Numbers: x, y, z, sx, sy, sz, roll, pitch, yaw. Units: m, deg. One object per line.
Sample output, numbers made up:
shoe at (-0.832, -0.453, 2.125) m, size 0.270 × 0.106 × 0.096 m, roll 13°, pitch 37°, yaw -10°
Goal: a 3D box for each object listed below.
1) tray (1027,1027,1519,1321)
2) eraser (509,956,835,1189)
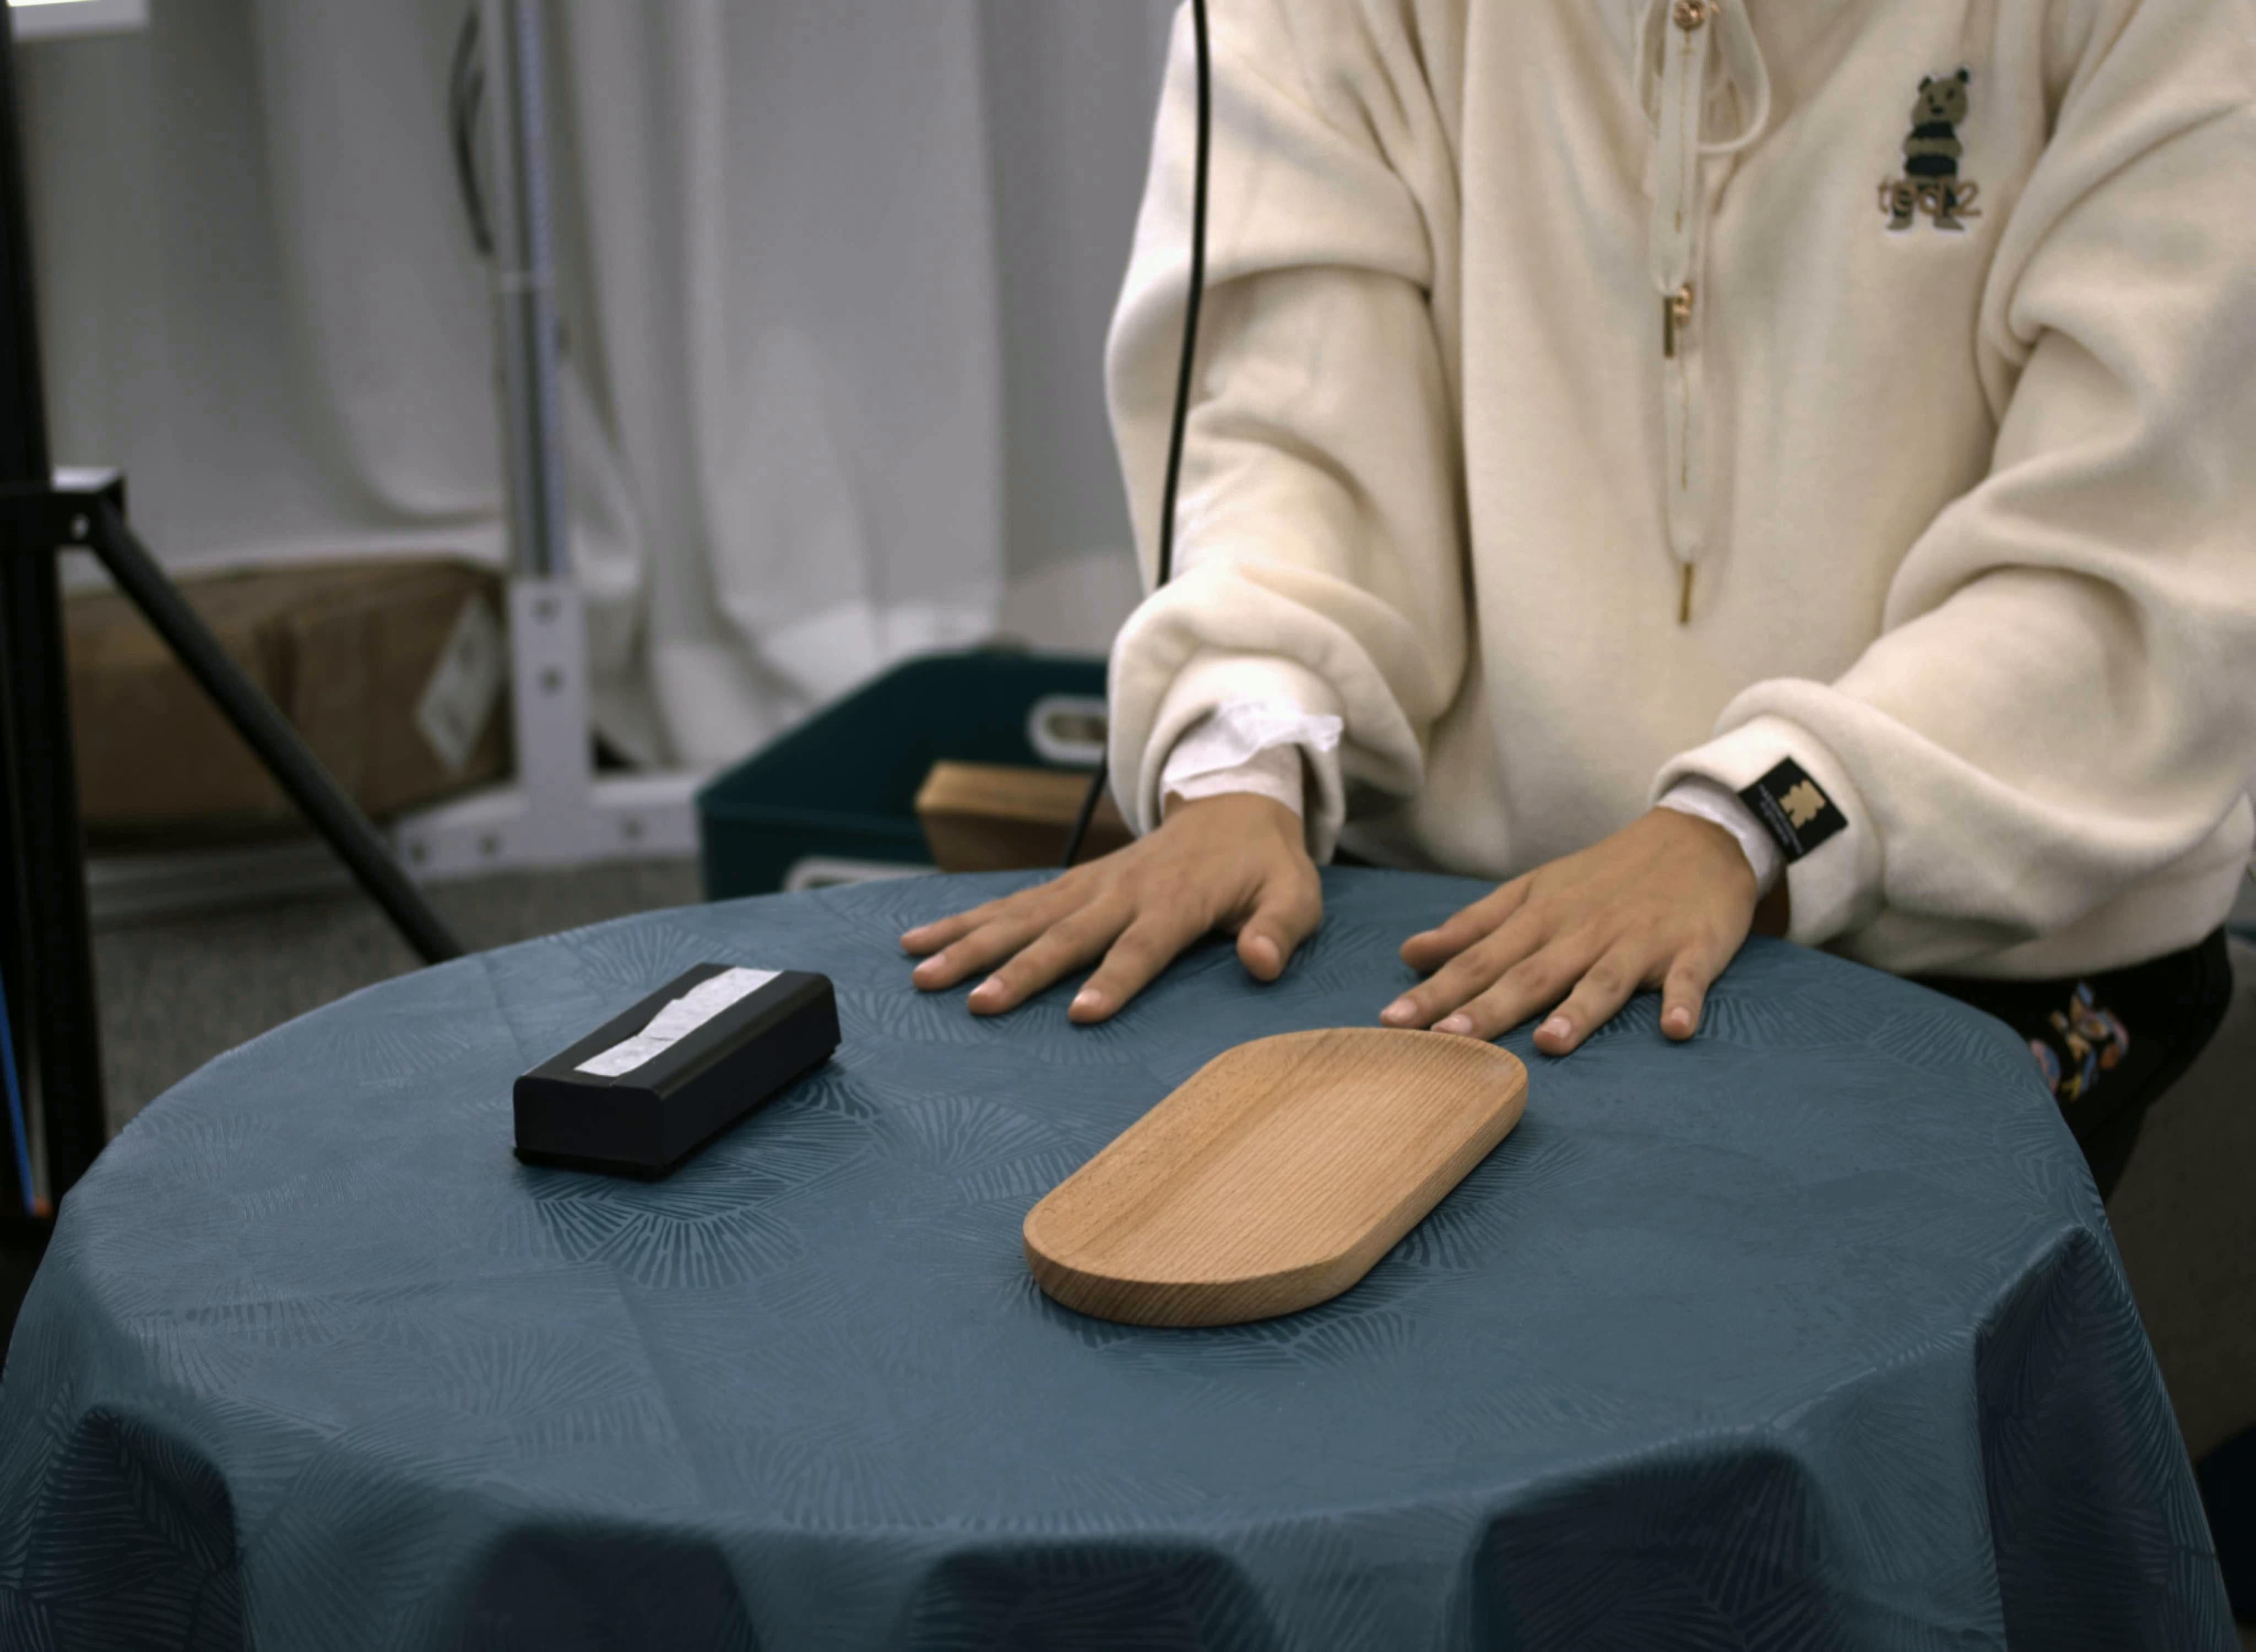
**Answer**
tray at (0.045, 0.099, 1.551) m, size 0.103 × 0.020 × 0.228 m, roll 4°, pitch 15°, yaw 21°
eraser at (-0.139, 0.075, 1.645) m, size 0.054 × 0.030 × 0.124 m, roll 9°, pitch 20°, yaw 21°
